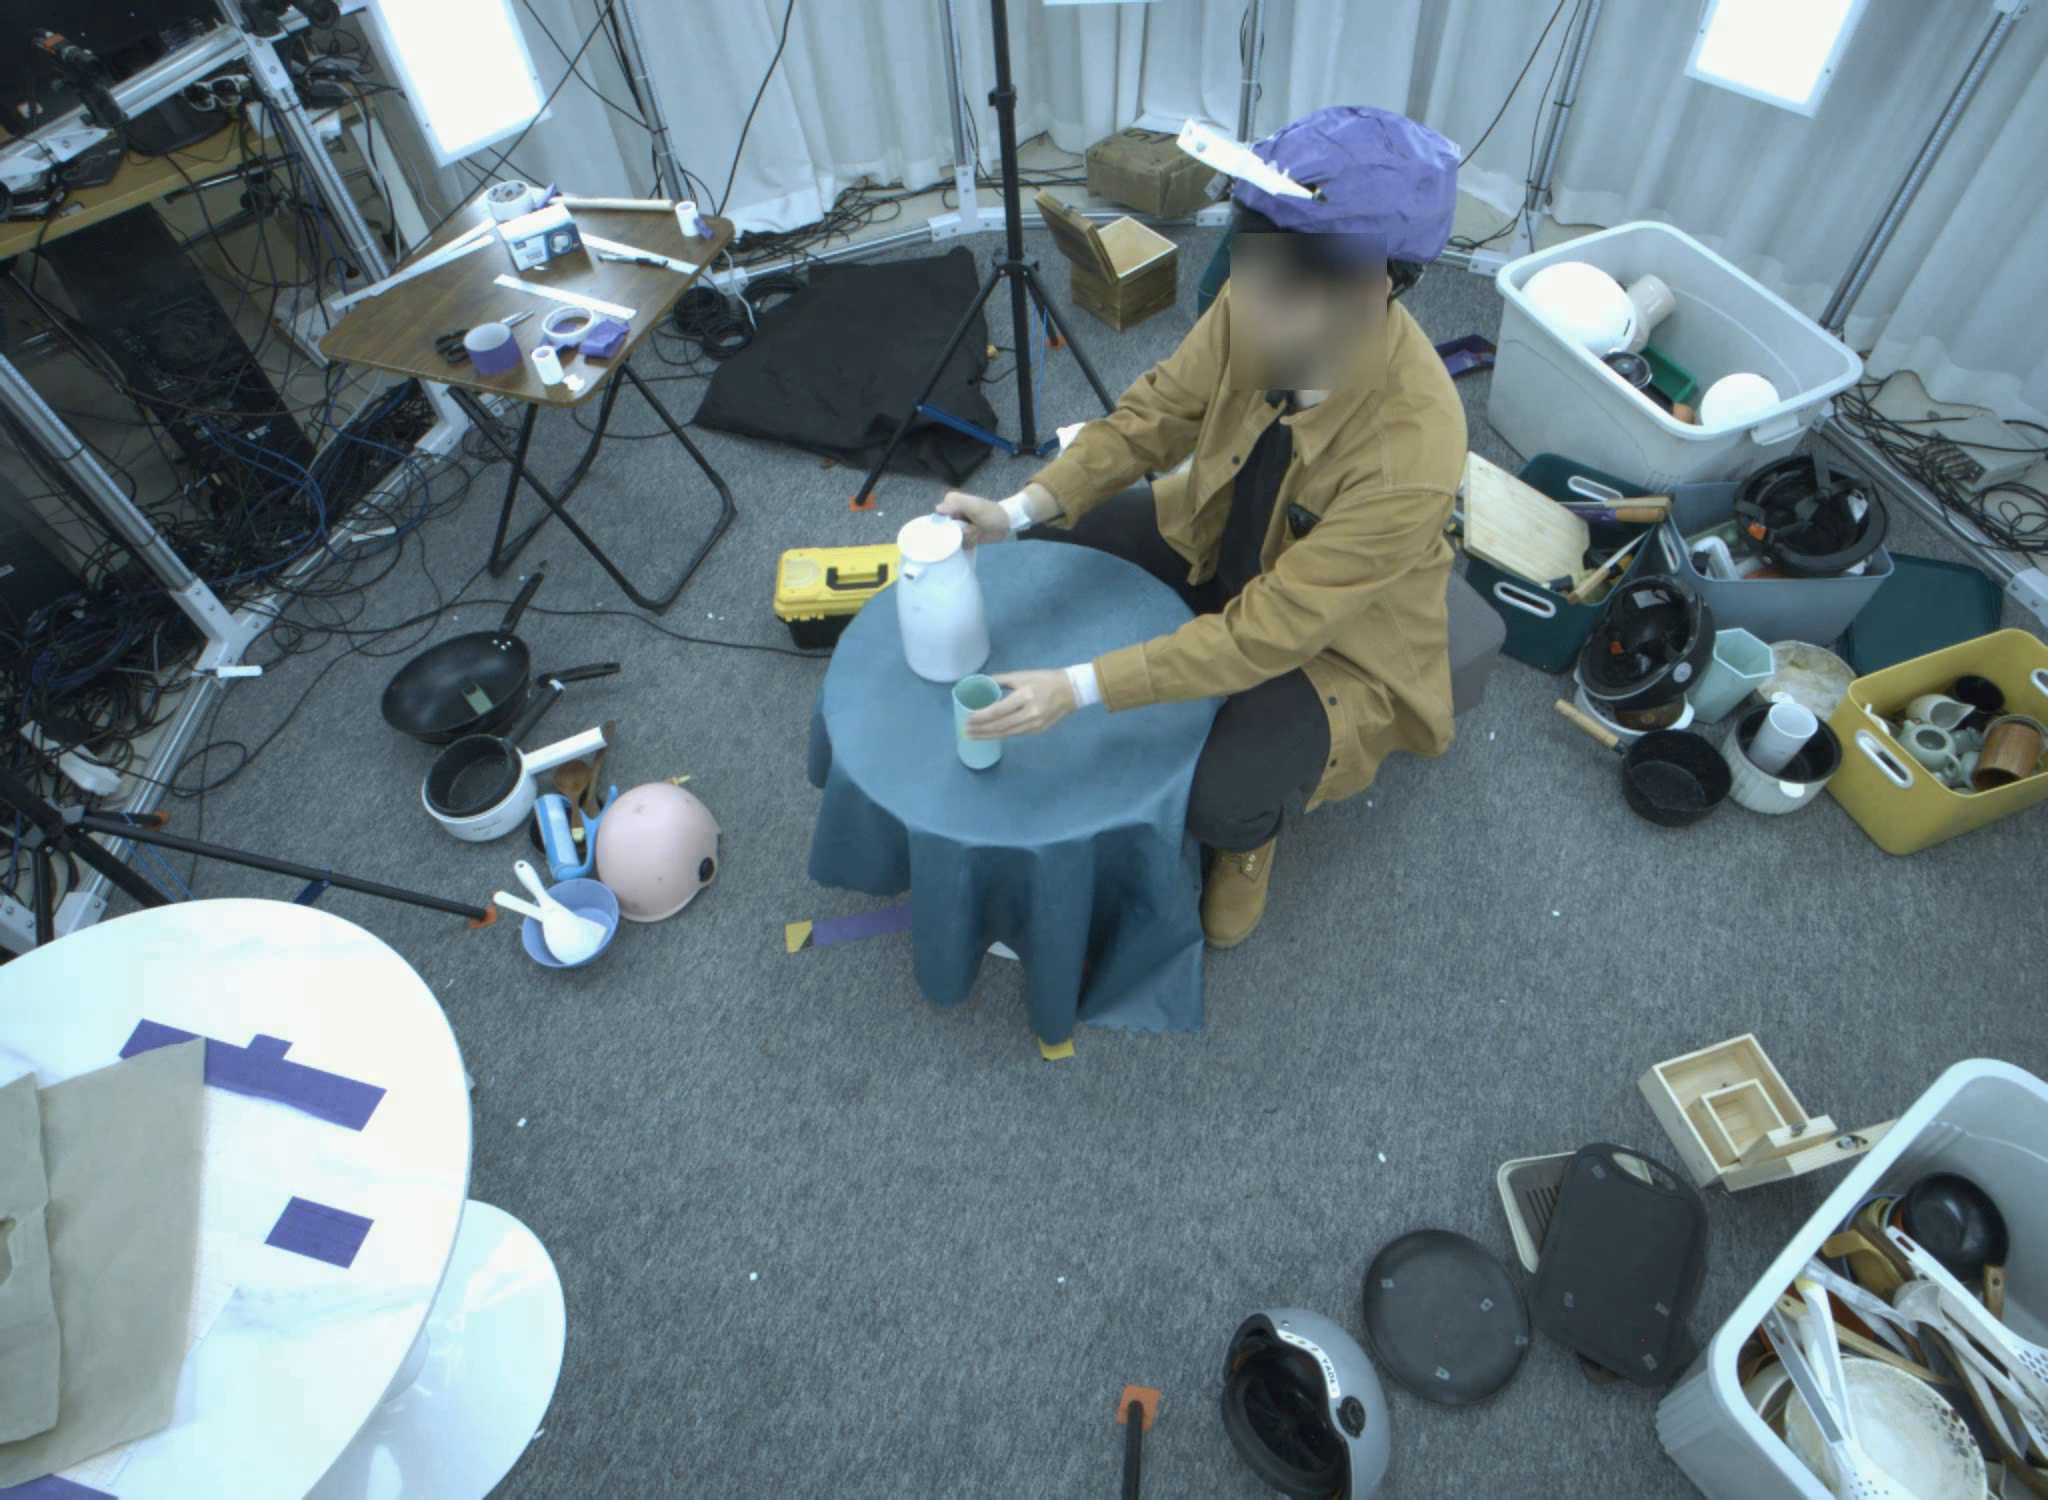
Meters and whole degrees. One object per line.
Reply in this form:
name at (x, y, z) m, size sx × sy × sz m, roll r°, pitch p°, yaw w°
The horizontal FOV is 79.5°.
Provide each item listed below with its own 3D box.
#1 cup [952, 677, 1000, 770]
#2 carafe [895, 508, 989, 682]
cup at (-0.065, -0.037, 1.724) m, size 0.067 × 0.133 × 0.066 m, roll 1°, pitch 53°, yaw 0°
carafe at (-0.120, -0.242, 1.807) m, size 0.131 × 0.251 × 0.168 m, roll 20°, pitch 57°, yaw 17°
